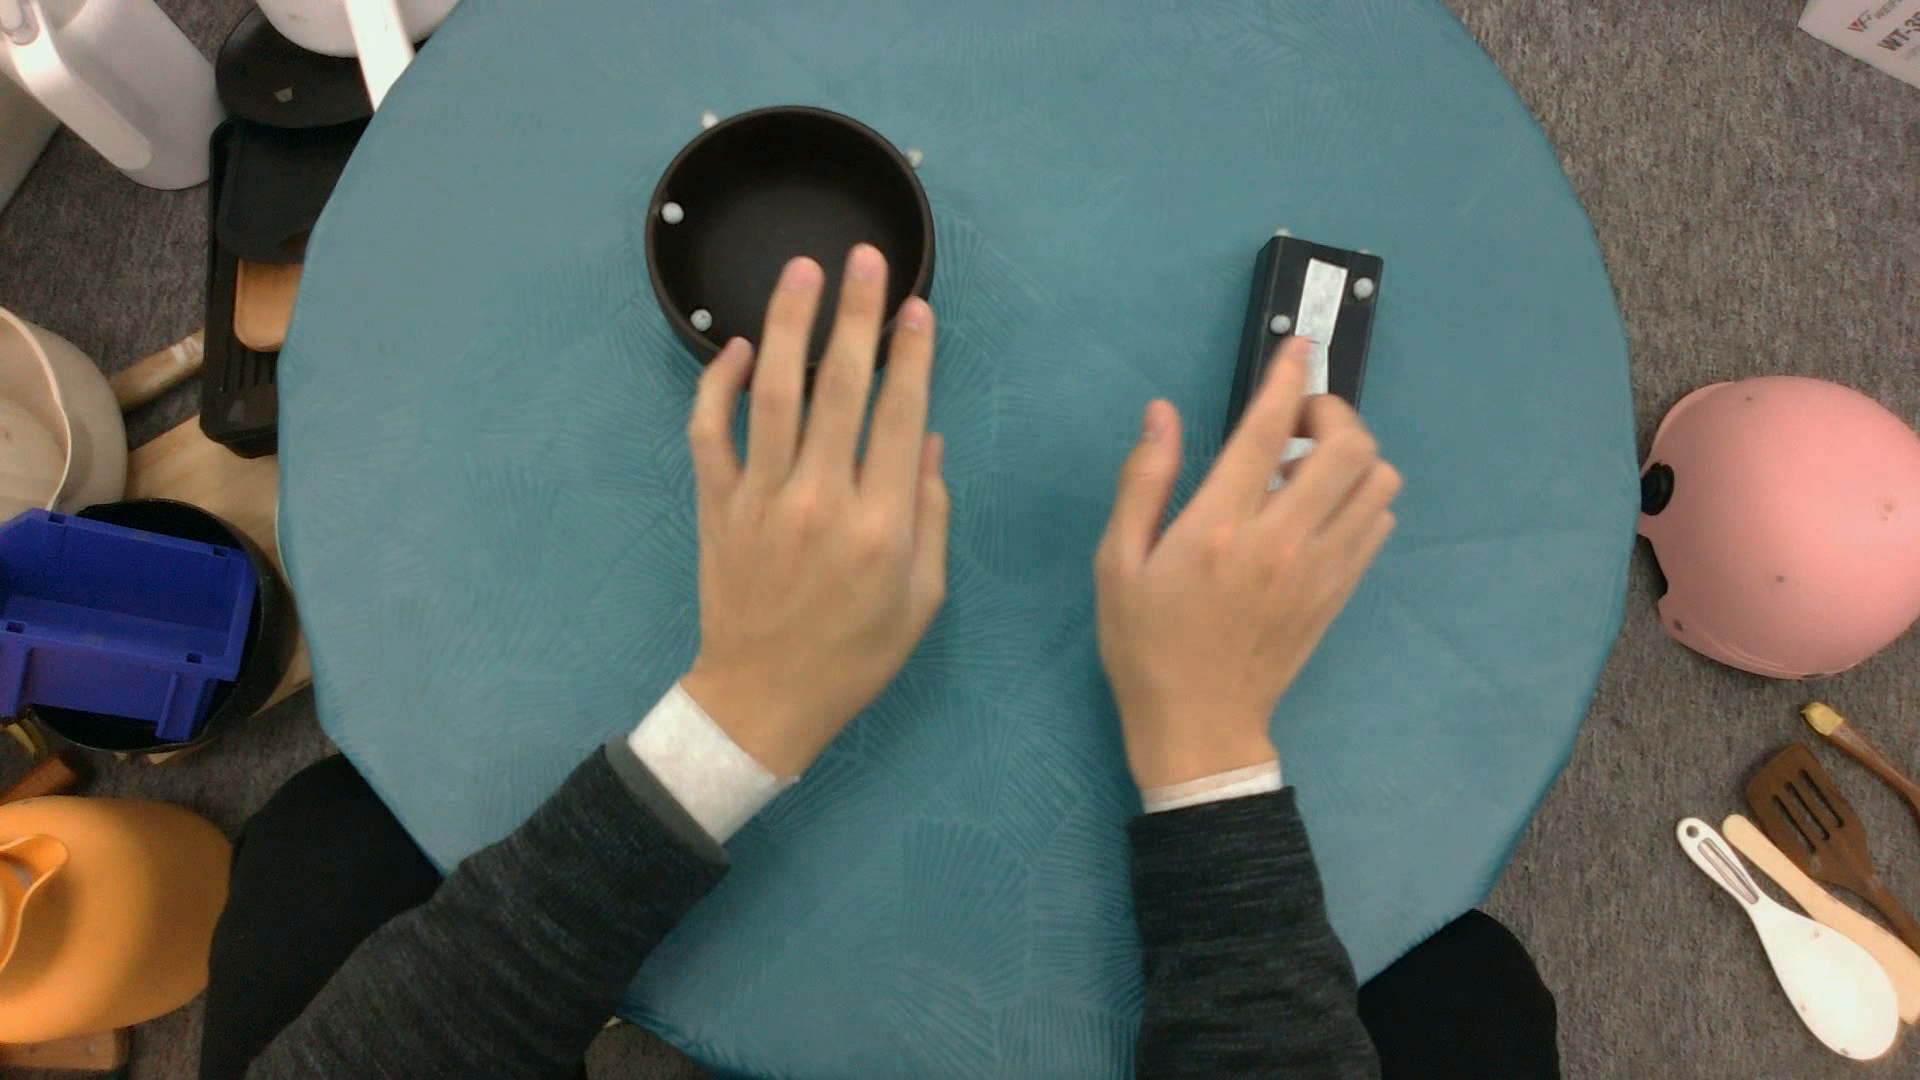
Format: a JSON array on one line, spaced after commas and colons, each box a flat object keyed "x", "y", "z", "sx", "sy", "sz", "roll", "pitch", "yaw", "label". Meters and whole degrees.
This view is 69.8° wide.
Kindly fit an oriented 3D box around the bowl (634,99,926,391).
[{"x": -0.074, "y": -0.118, "z": 0.581, "sx": 0.118, "sy": 0.069, "sz": 0.118, "roll": 1, "pitch": 79, "yaw": -4, "label": "bowl"}]

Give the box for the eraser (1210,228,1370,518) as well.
[{"x": 0.145, "y": -0.074, "z": 0.607, "sx": 0.053, "sy": 0.030, "sz": 0.126, "roll": 11, "pitch": 77, "yaw": 1, "label": "eraser"}]
